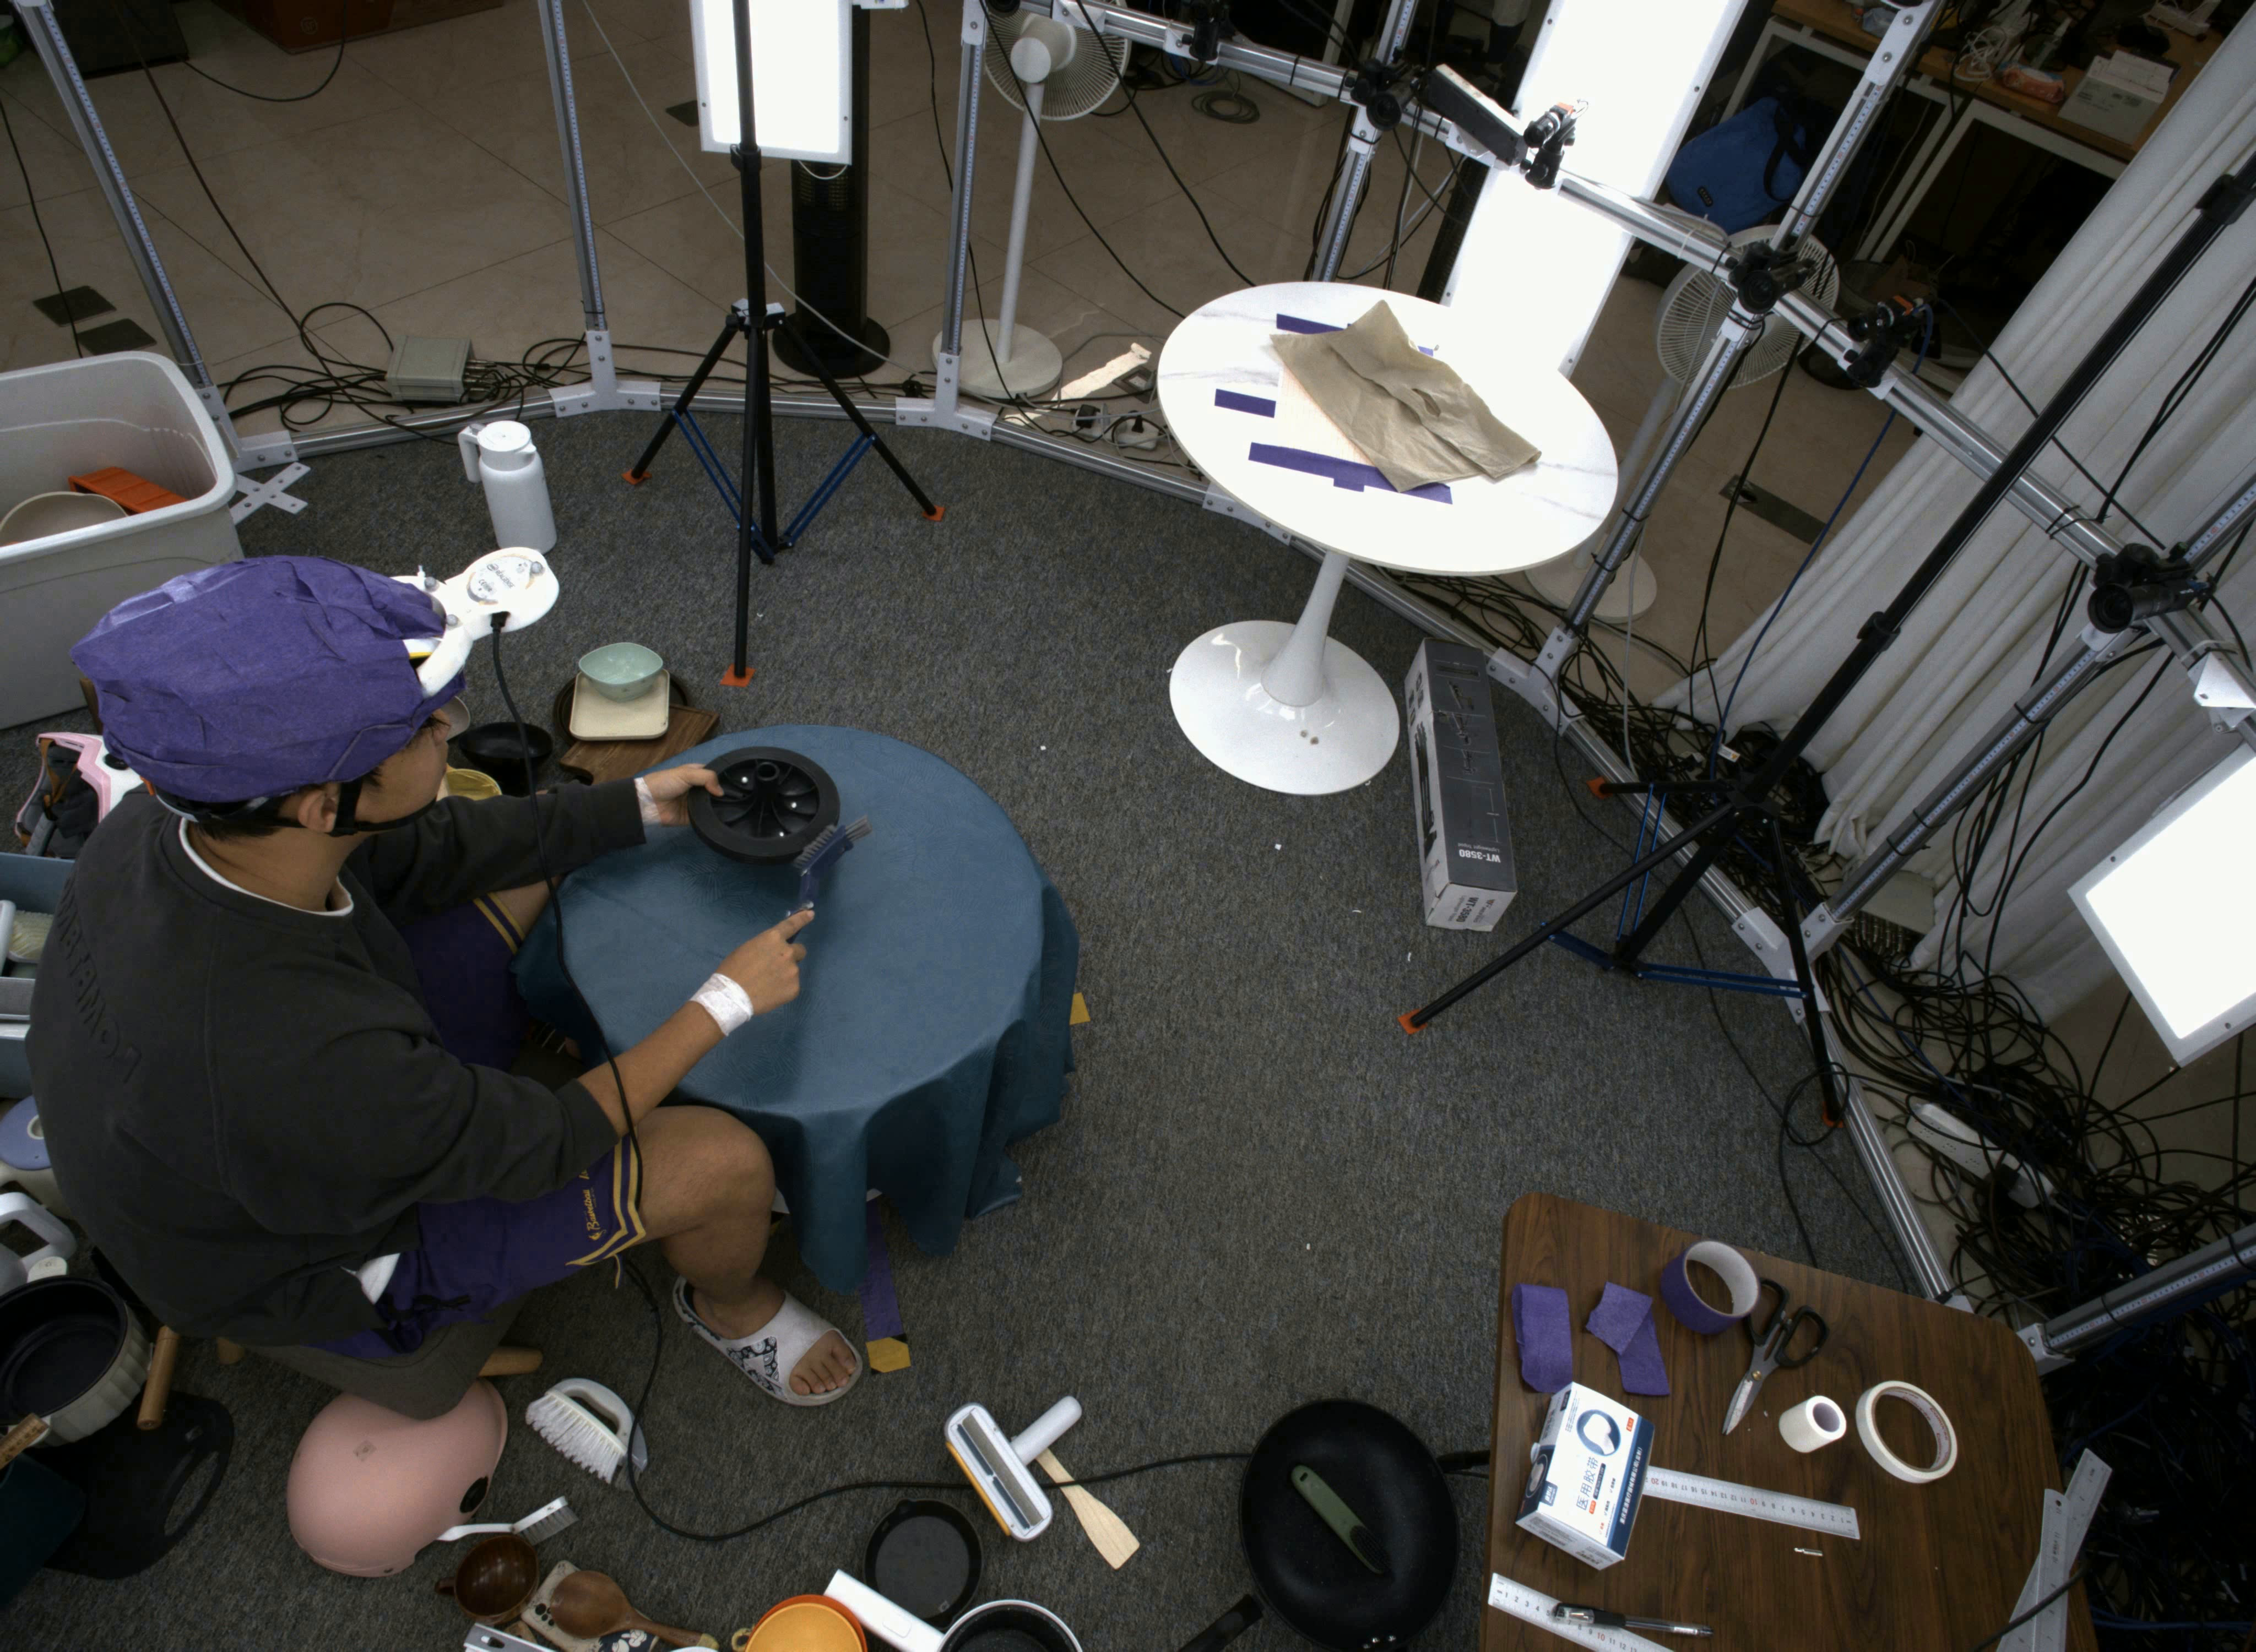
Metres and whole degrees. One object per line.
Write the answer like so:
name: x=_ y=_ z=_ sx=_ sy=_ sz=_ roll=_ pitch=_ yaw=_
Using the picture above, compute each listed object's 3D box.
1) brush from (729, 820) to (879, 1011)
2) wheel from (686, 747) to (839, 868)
brush: x=-0.382 y=0.096 z=1.529 sx=0.093 sy=0.035 sz=0.270 roll=-1 pitch=48 yaw=21
wheel: x=-0.458 y=-0.041 z=1.625 sx=0.191 sy=0.080 sz=0.183 roll=-2 pitch=52 yaw=-20
